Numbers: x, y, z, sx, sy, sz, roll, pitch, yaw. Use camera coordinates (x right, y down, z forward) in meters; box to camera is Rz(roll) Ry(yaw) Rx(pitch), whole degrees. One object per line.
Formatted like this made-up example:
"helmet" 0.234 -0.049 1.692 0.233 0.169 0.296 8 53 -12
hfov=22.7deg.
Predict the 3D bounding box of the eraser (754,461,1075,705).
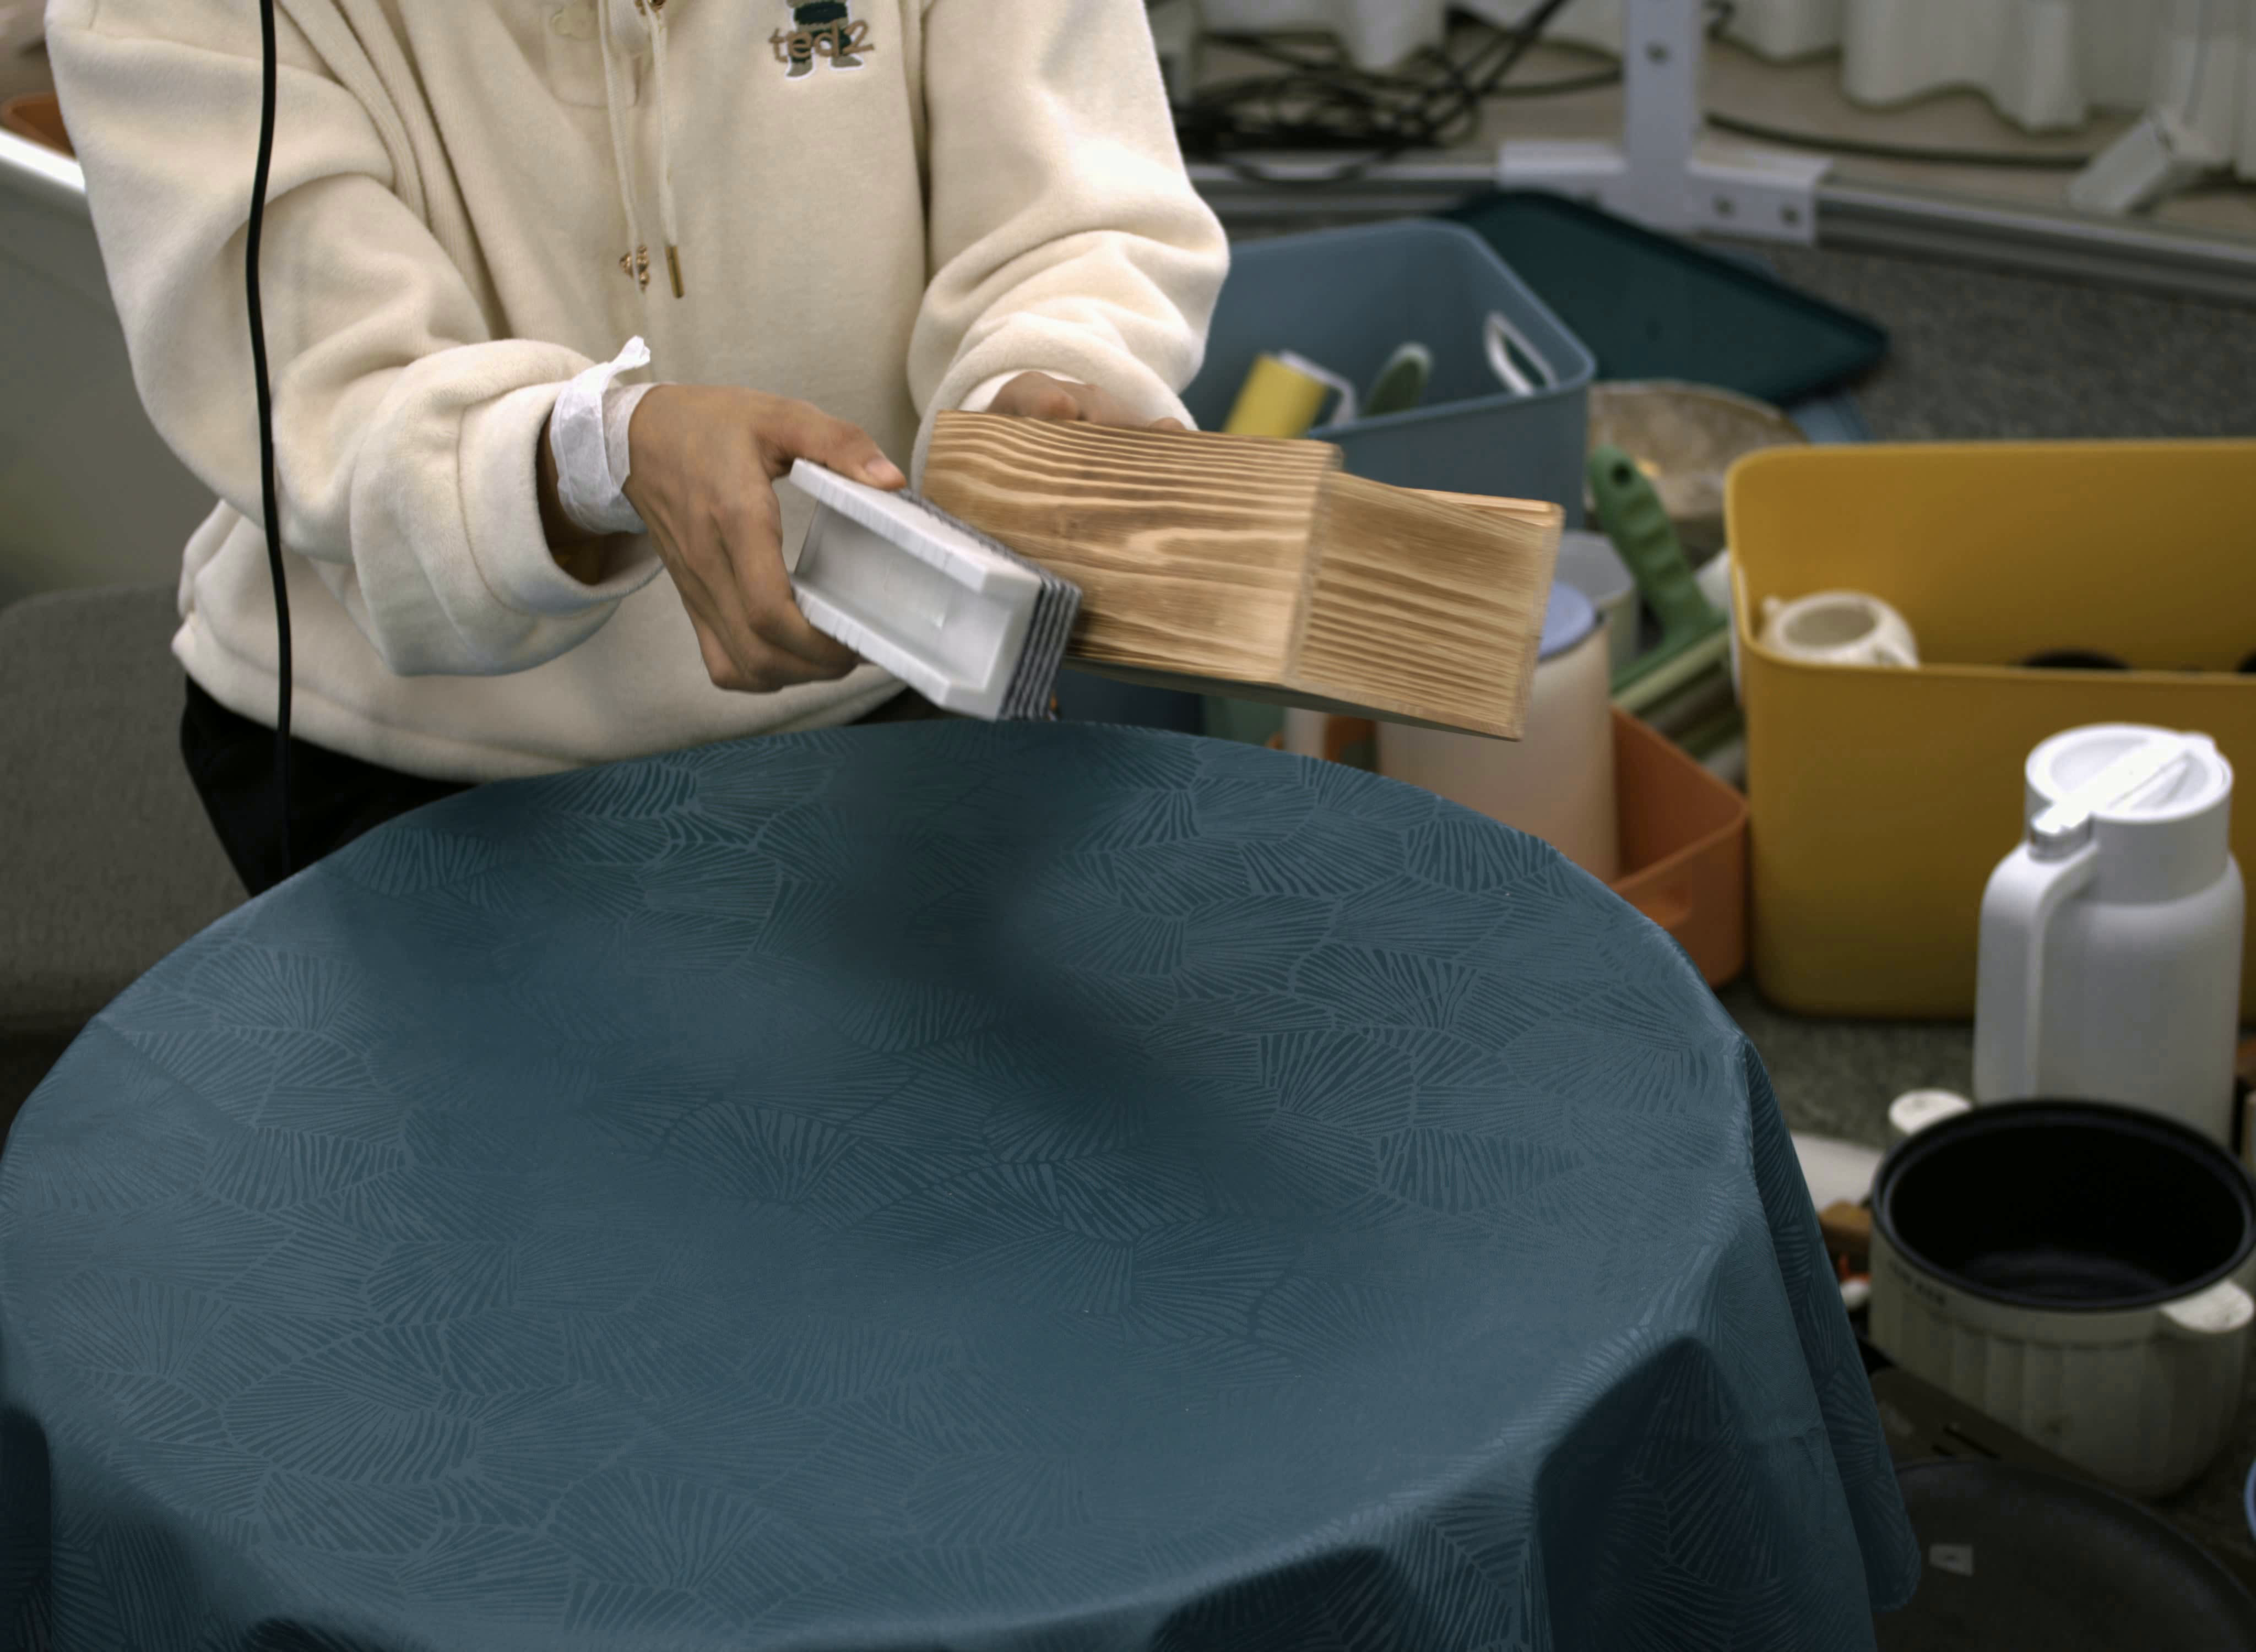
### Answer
"eraser" -0.072 -0.082 1.890 0.046 0.049 0.134 10 10 -35

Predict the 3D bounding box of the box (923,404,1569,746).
"box" 0.033 -0.086 1.888 0.107 0.080 0.210 13 -2 -39
